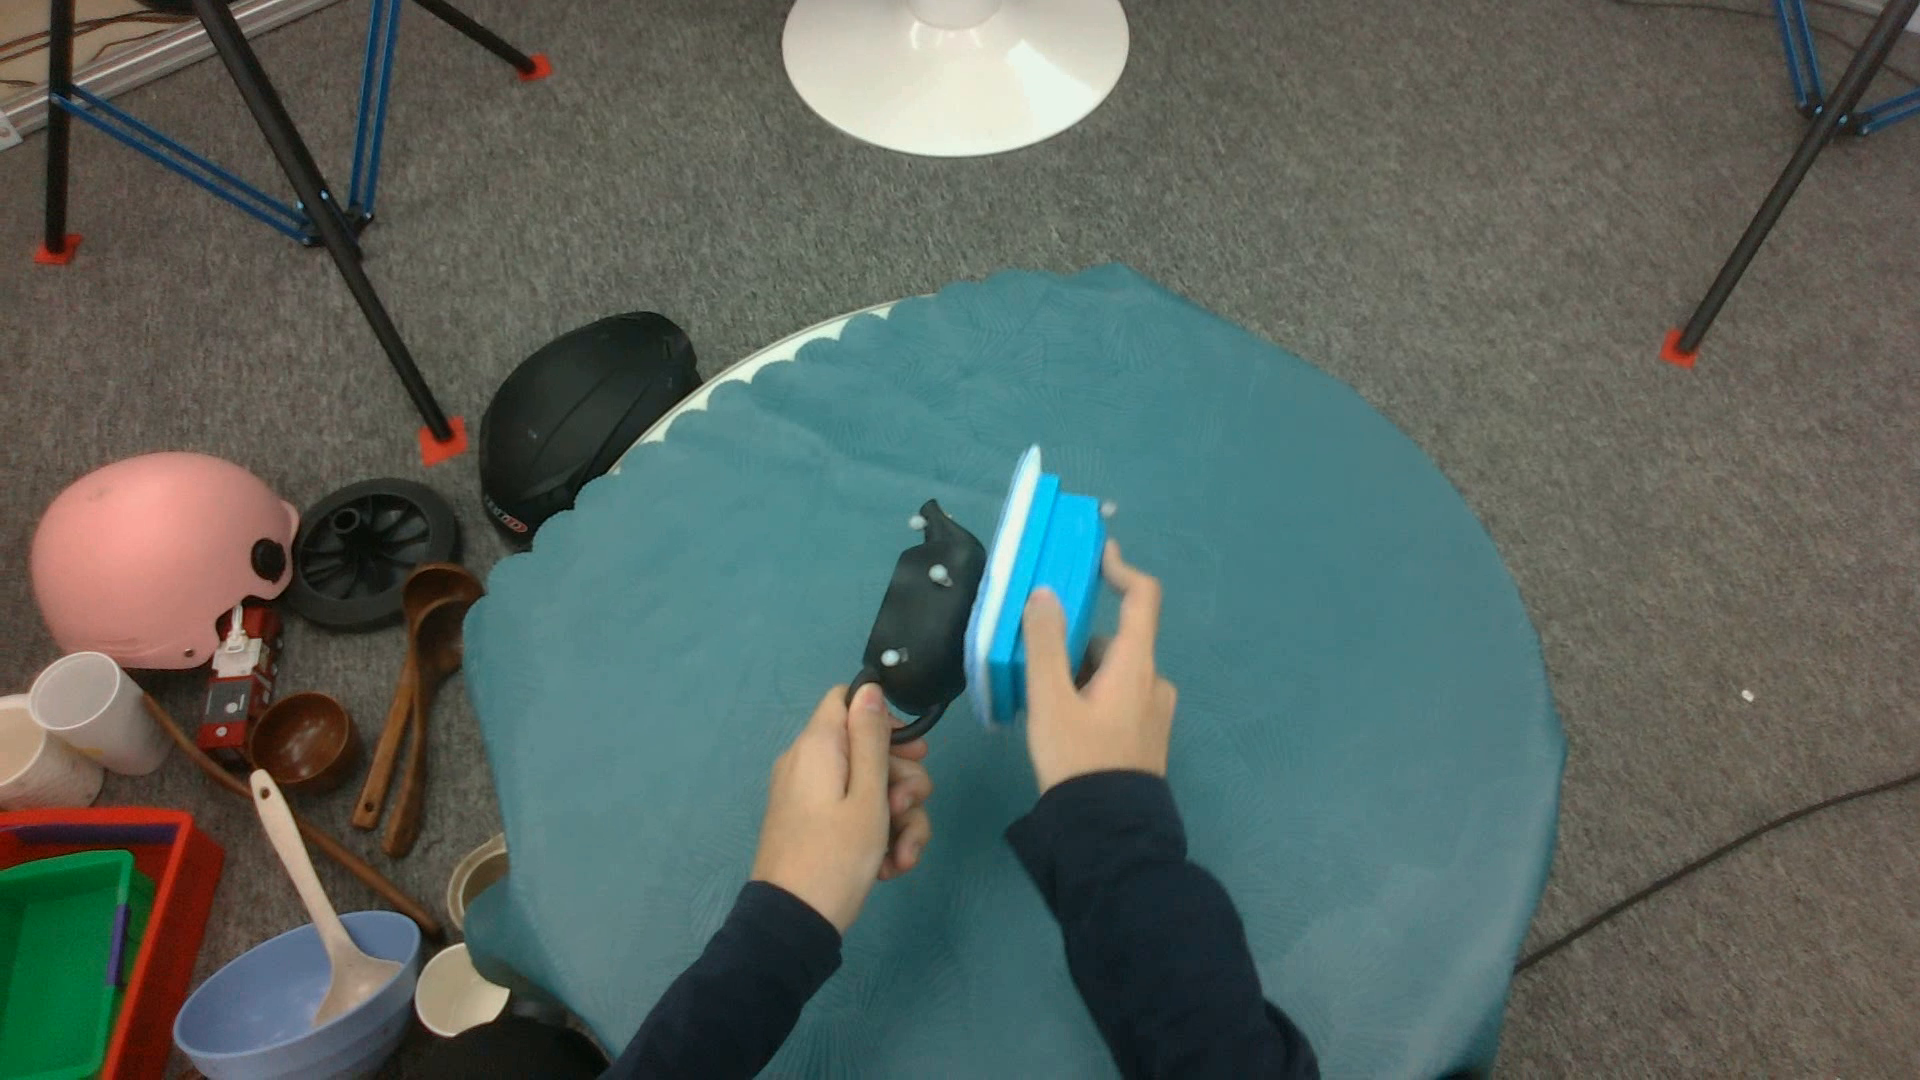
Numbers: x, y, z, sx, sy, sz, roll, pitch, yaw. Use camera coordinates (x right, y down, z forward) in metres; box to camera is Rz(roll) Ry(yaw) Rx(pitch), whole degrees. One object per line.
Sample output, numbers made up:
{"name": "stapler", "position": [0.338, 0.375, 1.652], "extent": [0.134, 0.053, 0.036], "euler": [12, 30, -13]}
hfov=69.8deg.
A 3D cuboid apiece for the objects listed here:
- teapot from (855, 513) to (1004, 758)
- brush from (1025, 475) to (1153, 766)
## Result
{"name": "teapot", "position": [-0.011, 0.049, 0.691], "extent": [0.053, 0.090, 0.134], "euler": [18, 63, 4]}
{"name": "brush", "position": [0.068, 0.039, 0.703], "extent": [0.056, 0.084, 0.144], "euler": [-10, 68, 17]}
